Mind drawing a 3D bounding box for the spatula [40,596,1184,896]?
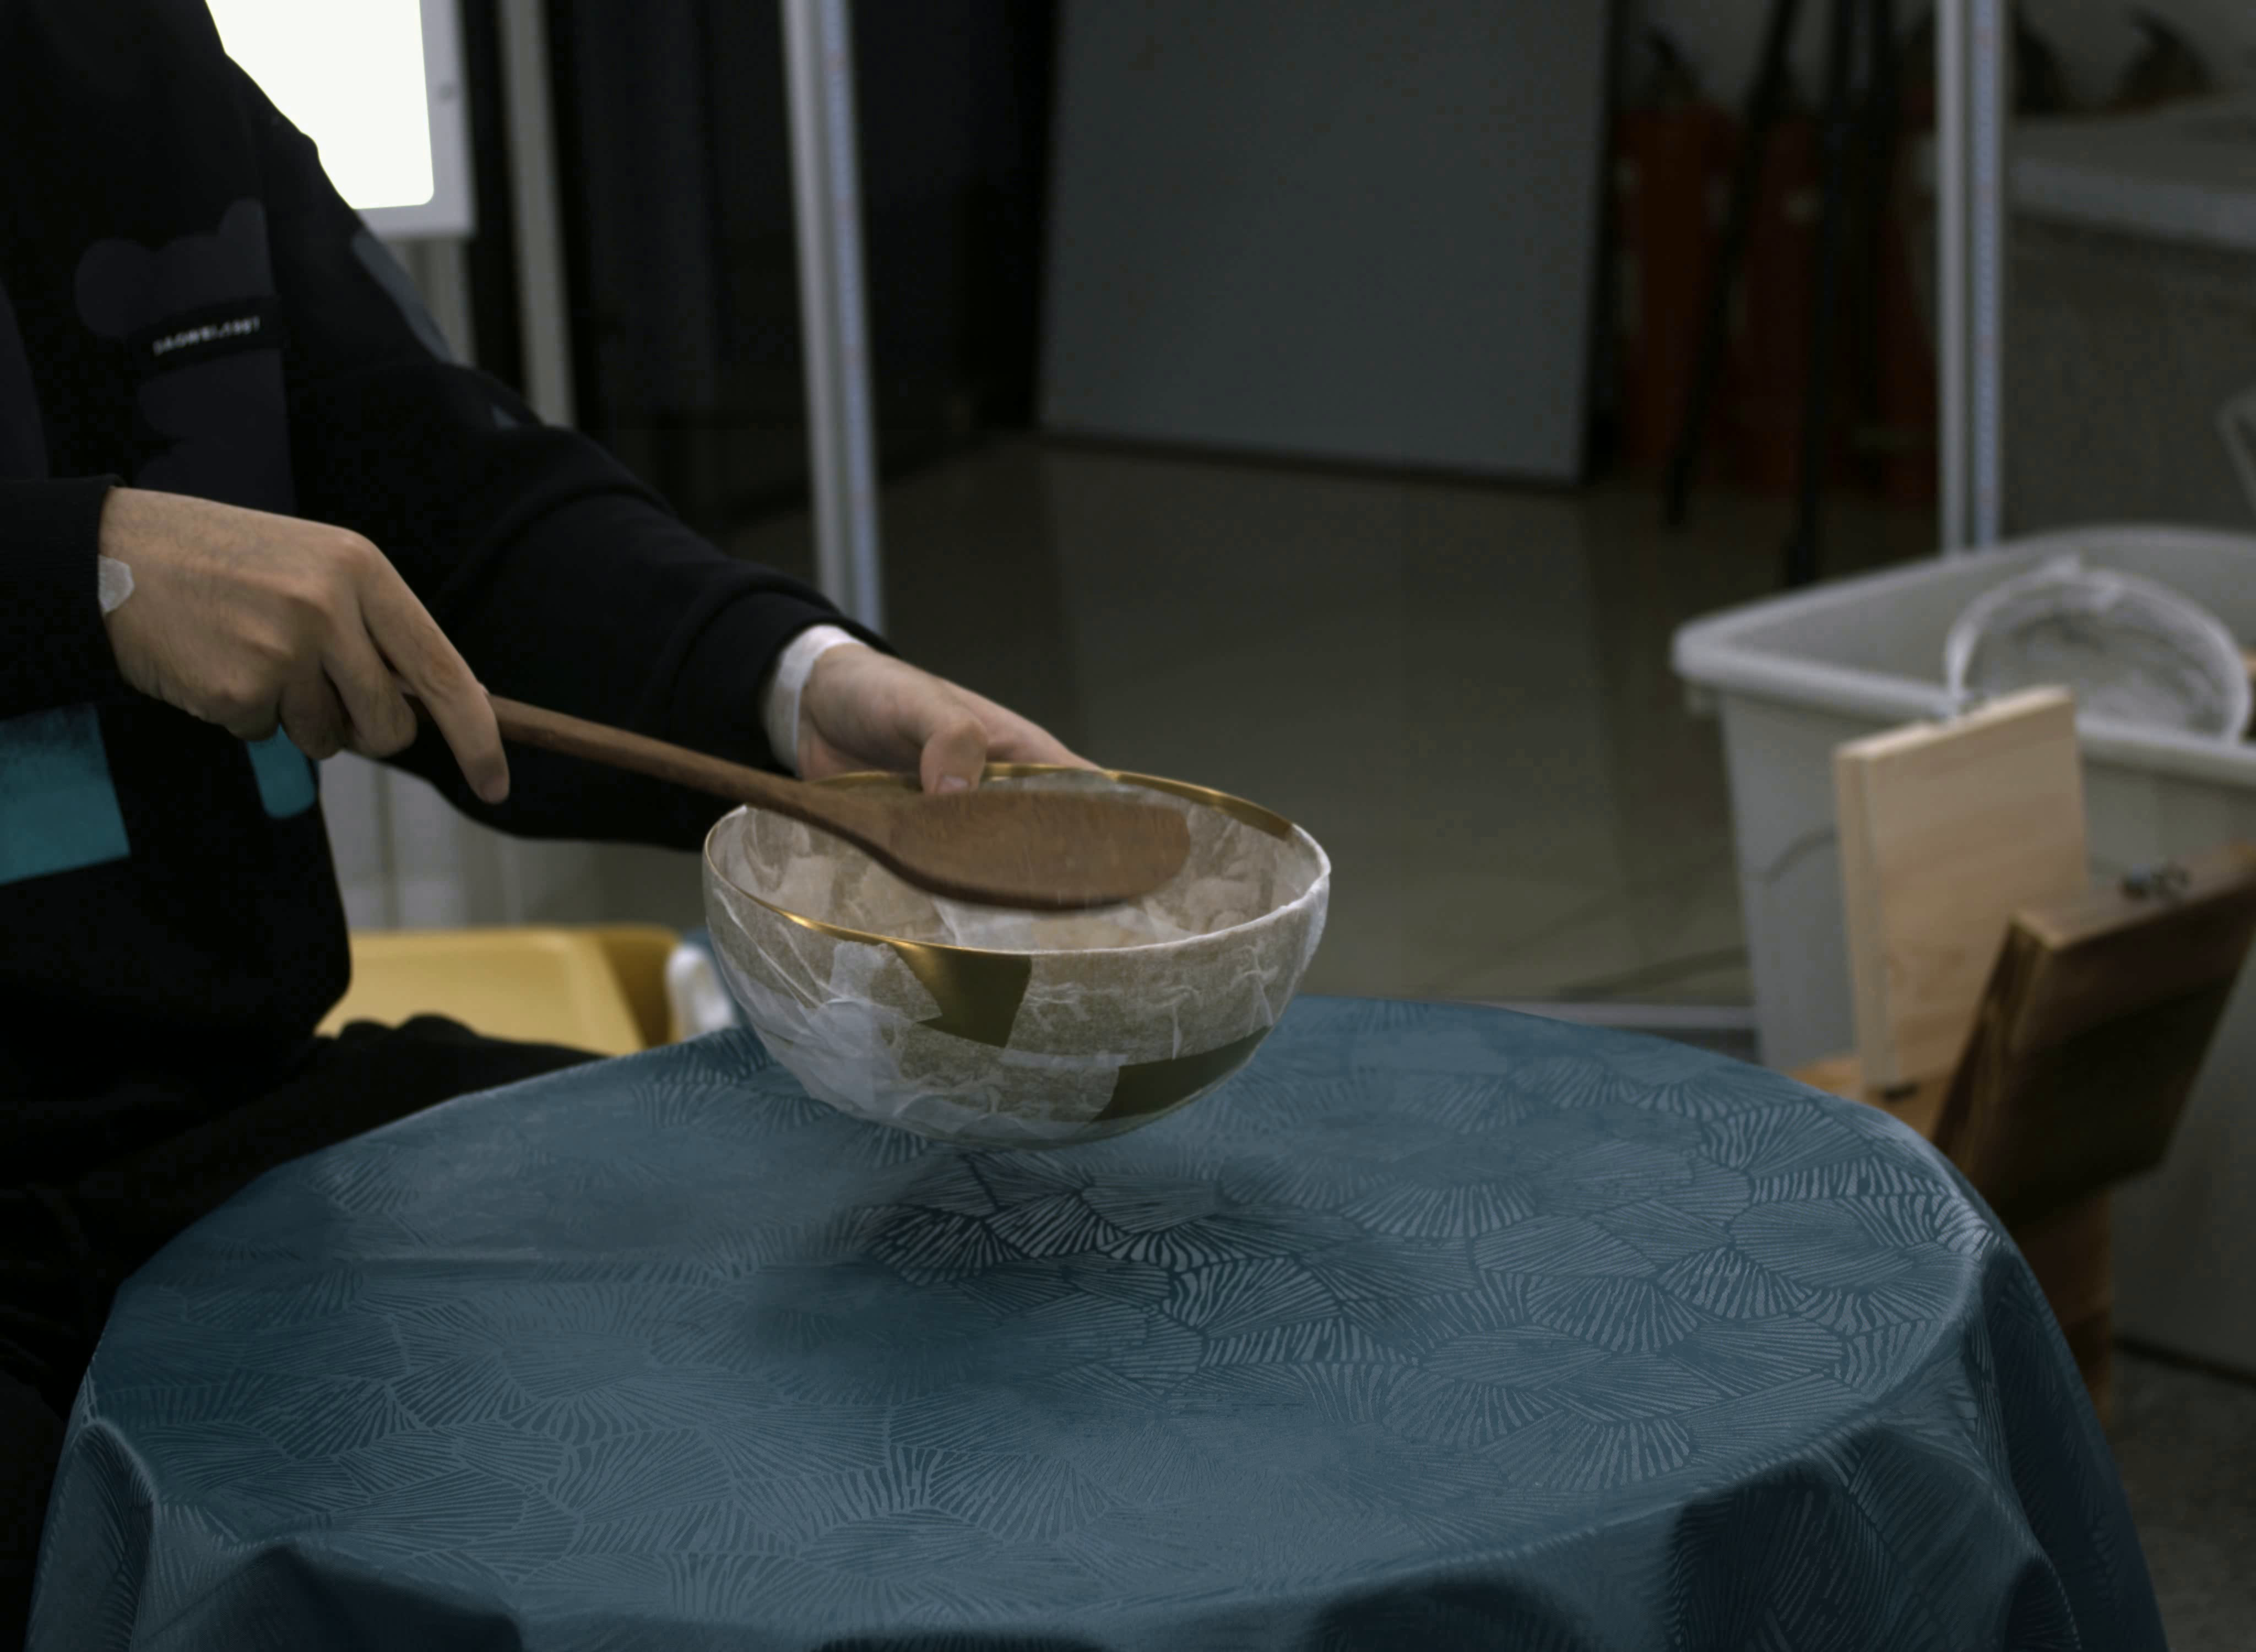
[{"bbox_3d":[-0.168,-0.029,1.710,0.384,0.016,0.095,13,21,13],"label":"spatula"}]

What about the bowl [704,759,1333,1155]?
[{"bbox_3d":[-0.037,0.048,1.726,0.212,0.095,0.215,0,17,-1],"label":"bowl"}]
